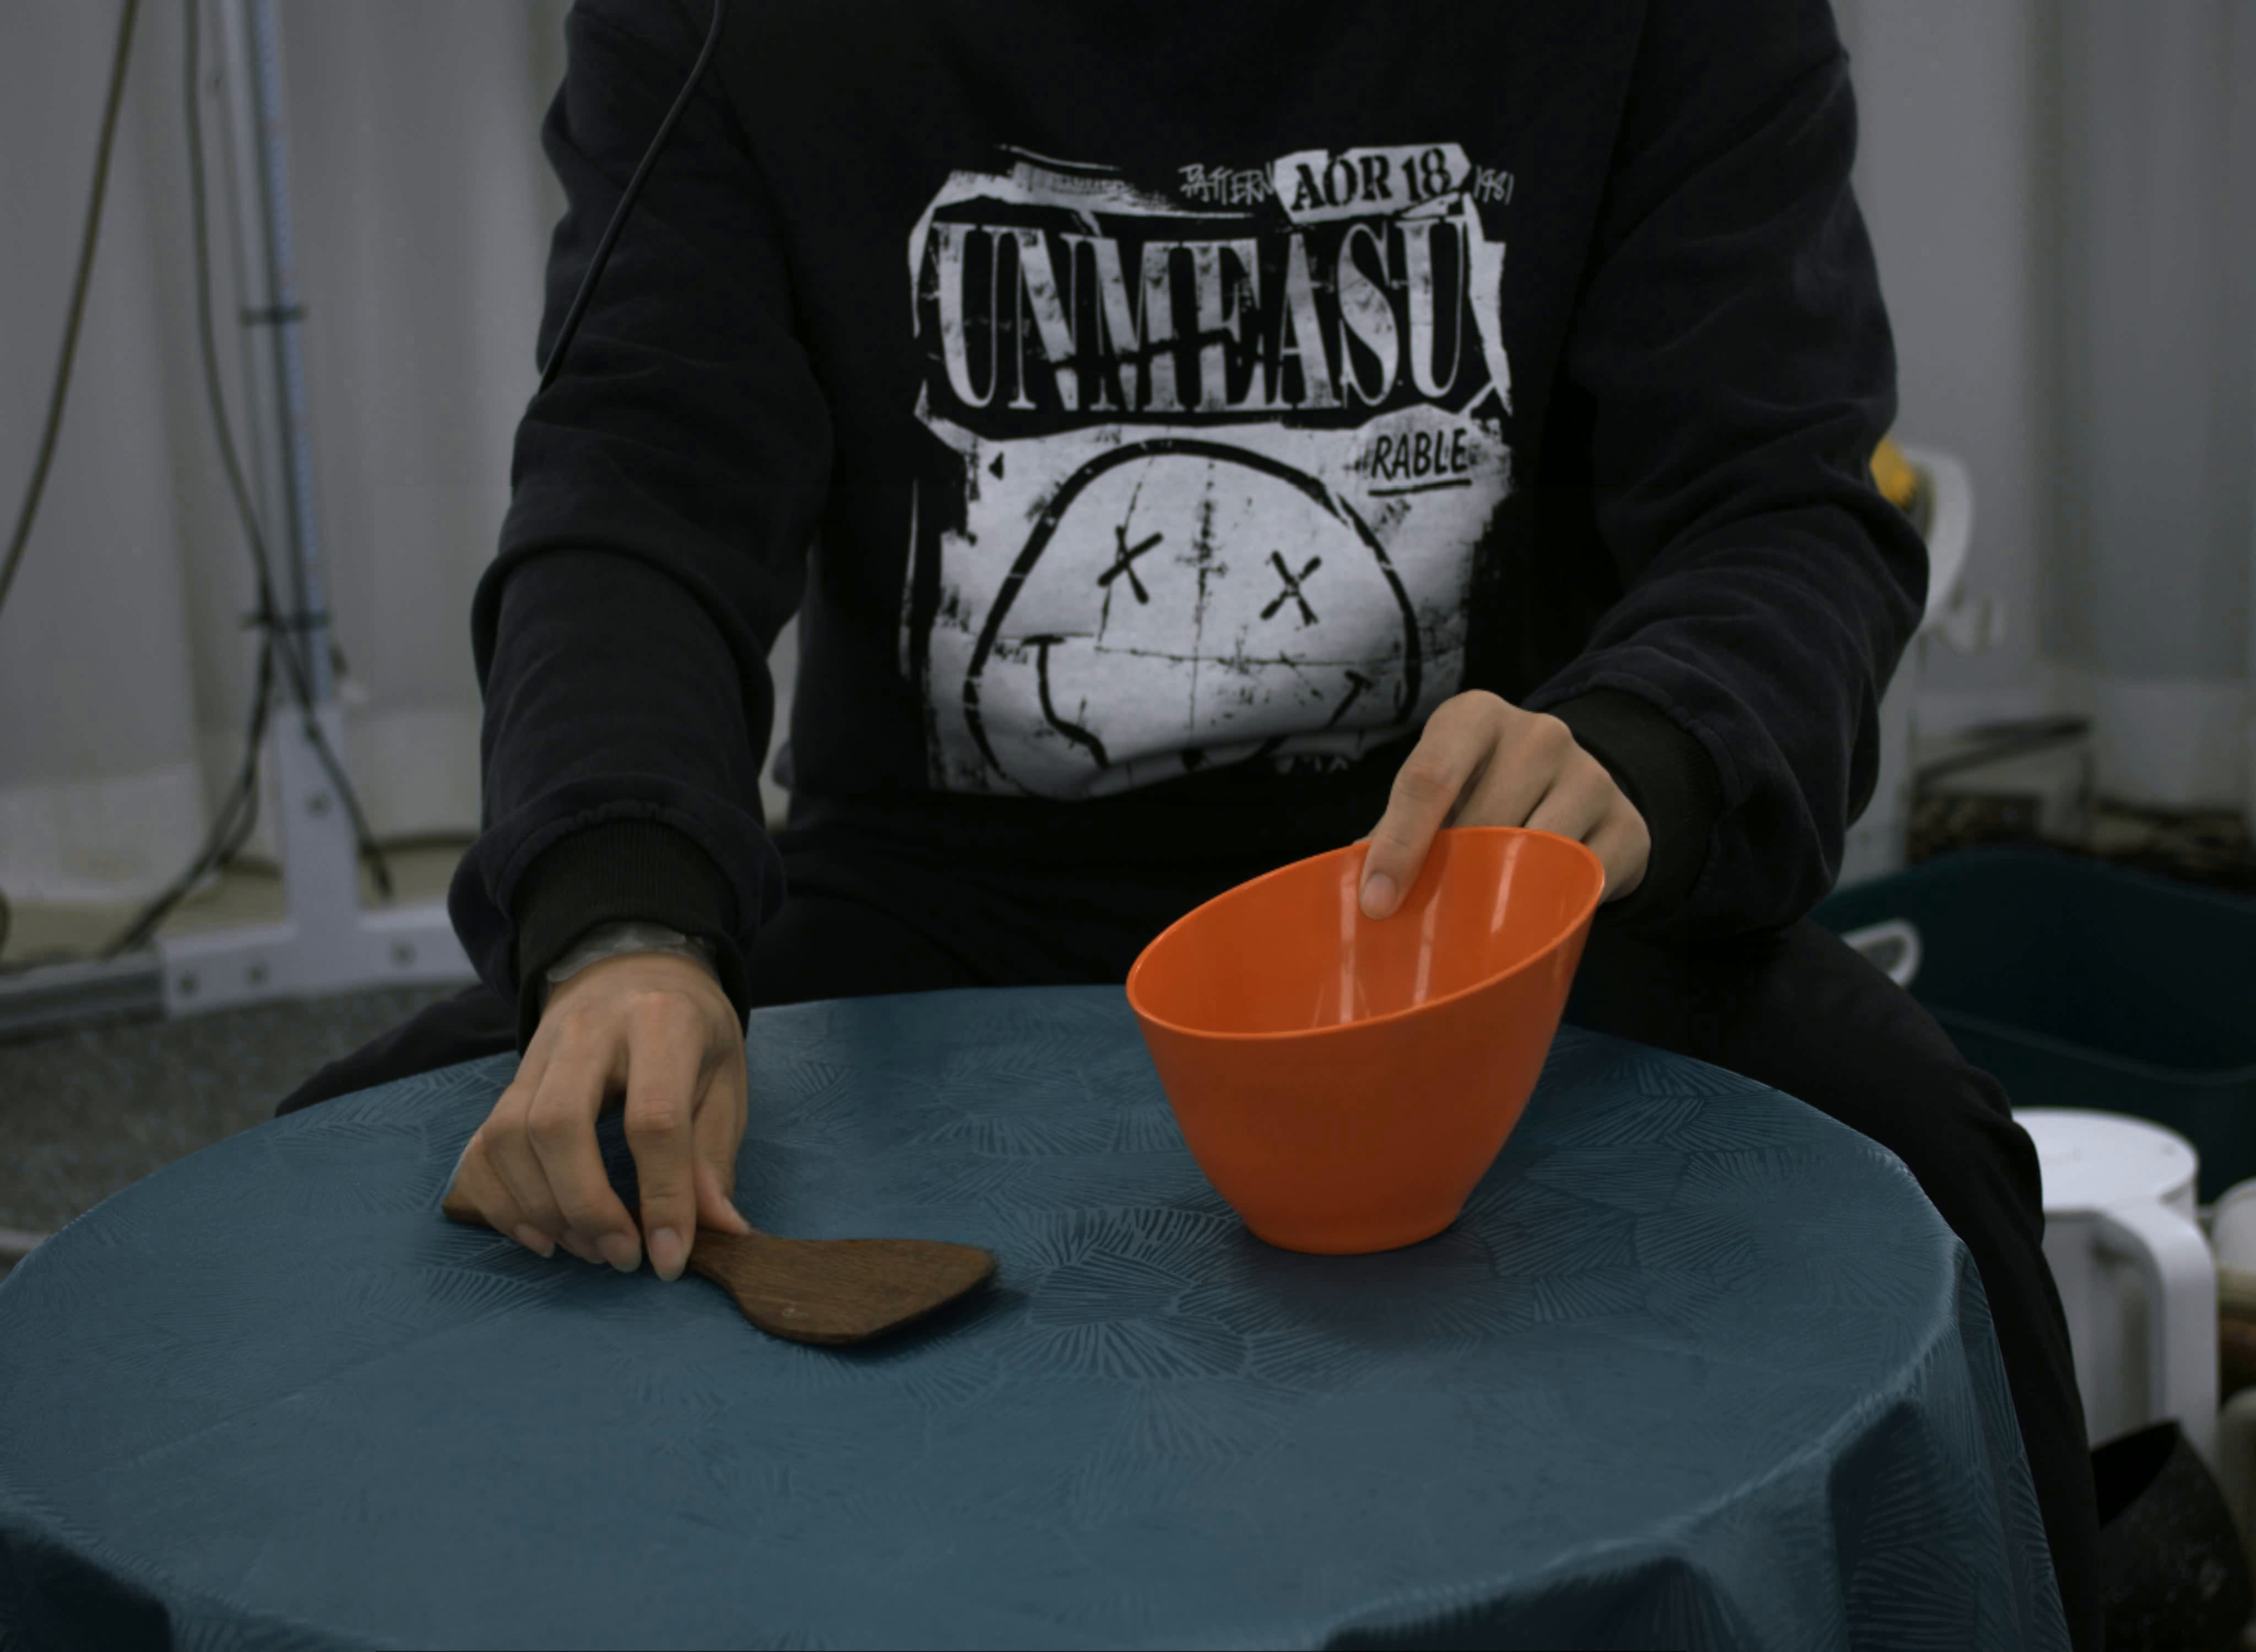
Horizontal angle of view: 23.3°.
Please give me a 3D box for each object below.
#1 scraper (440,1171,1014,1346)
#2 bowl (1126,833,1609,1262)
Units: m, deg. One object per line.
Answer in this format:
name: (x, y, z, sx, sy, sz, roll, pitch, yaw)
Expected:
scraper: (-0.130, 0.128, 1.665, 0.212, 0.011, 0.076, 10, 22, 40)
bowl: (0.075, 0.071, 1.661, 0.147, 0.104, 0.149, -5, 18, 1)
